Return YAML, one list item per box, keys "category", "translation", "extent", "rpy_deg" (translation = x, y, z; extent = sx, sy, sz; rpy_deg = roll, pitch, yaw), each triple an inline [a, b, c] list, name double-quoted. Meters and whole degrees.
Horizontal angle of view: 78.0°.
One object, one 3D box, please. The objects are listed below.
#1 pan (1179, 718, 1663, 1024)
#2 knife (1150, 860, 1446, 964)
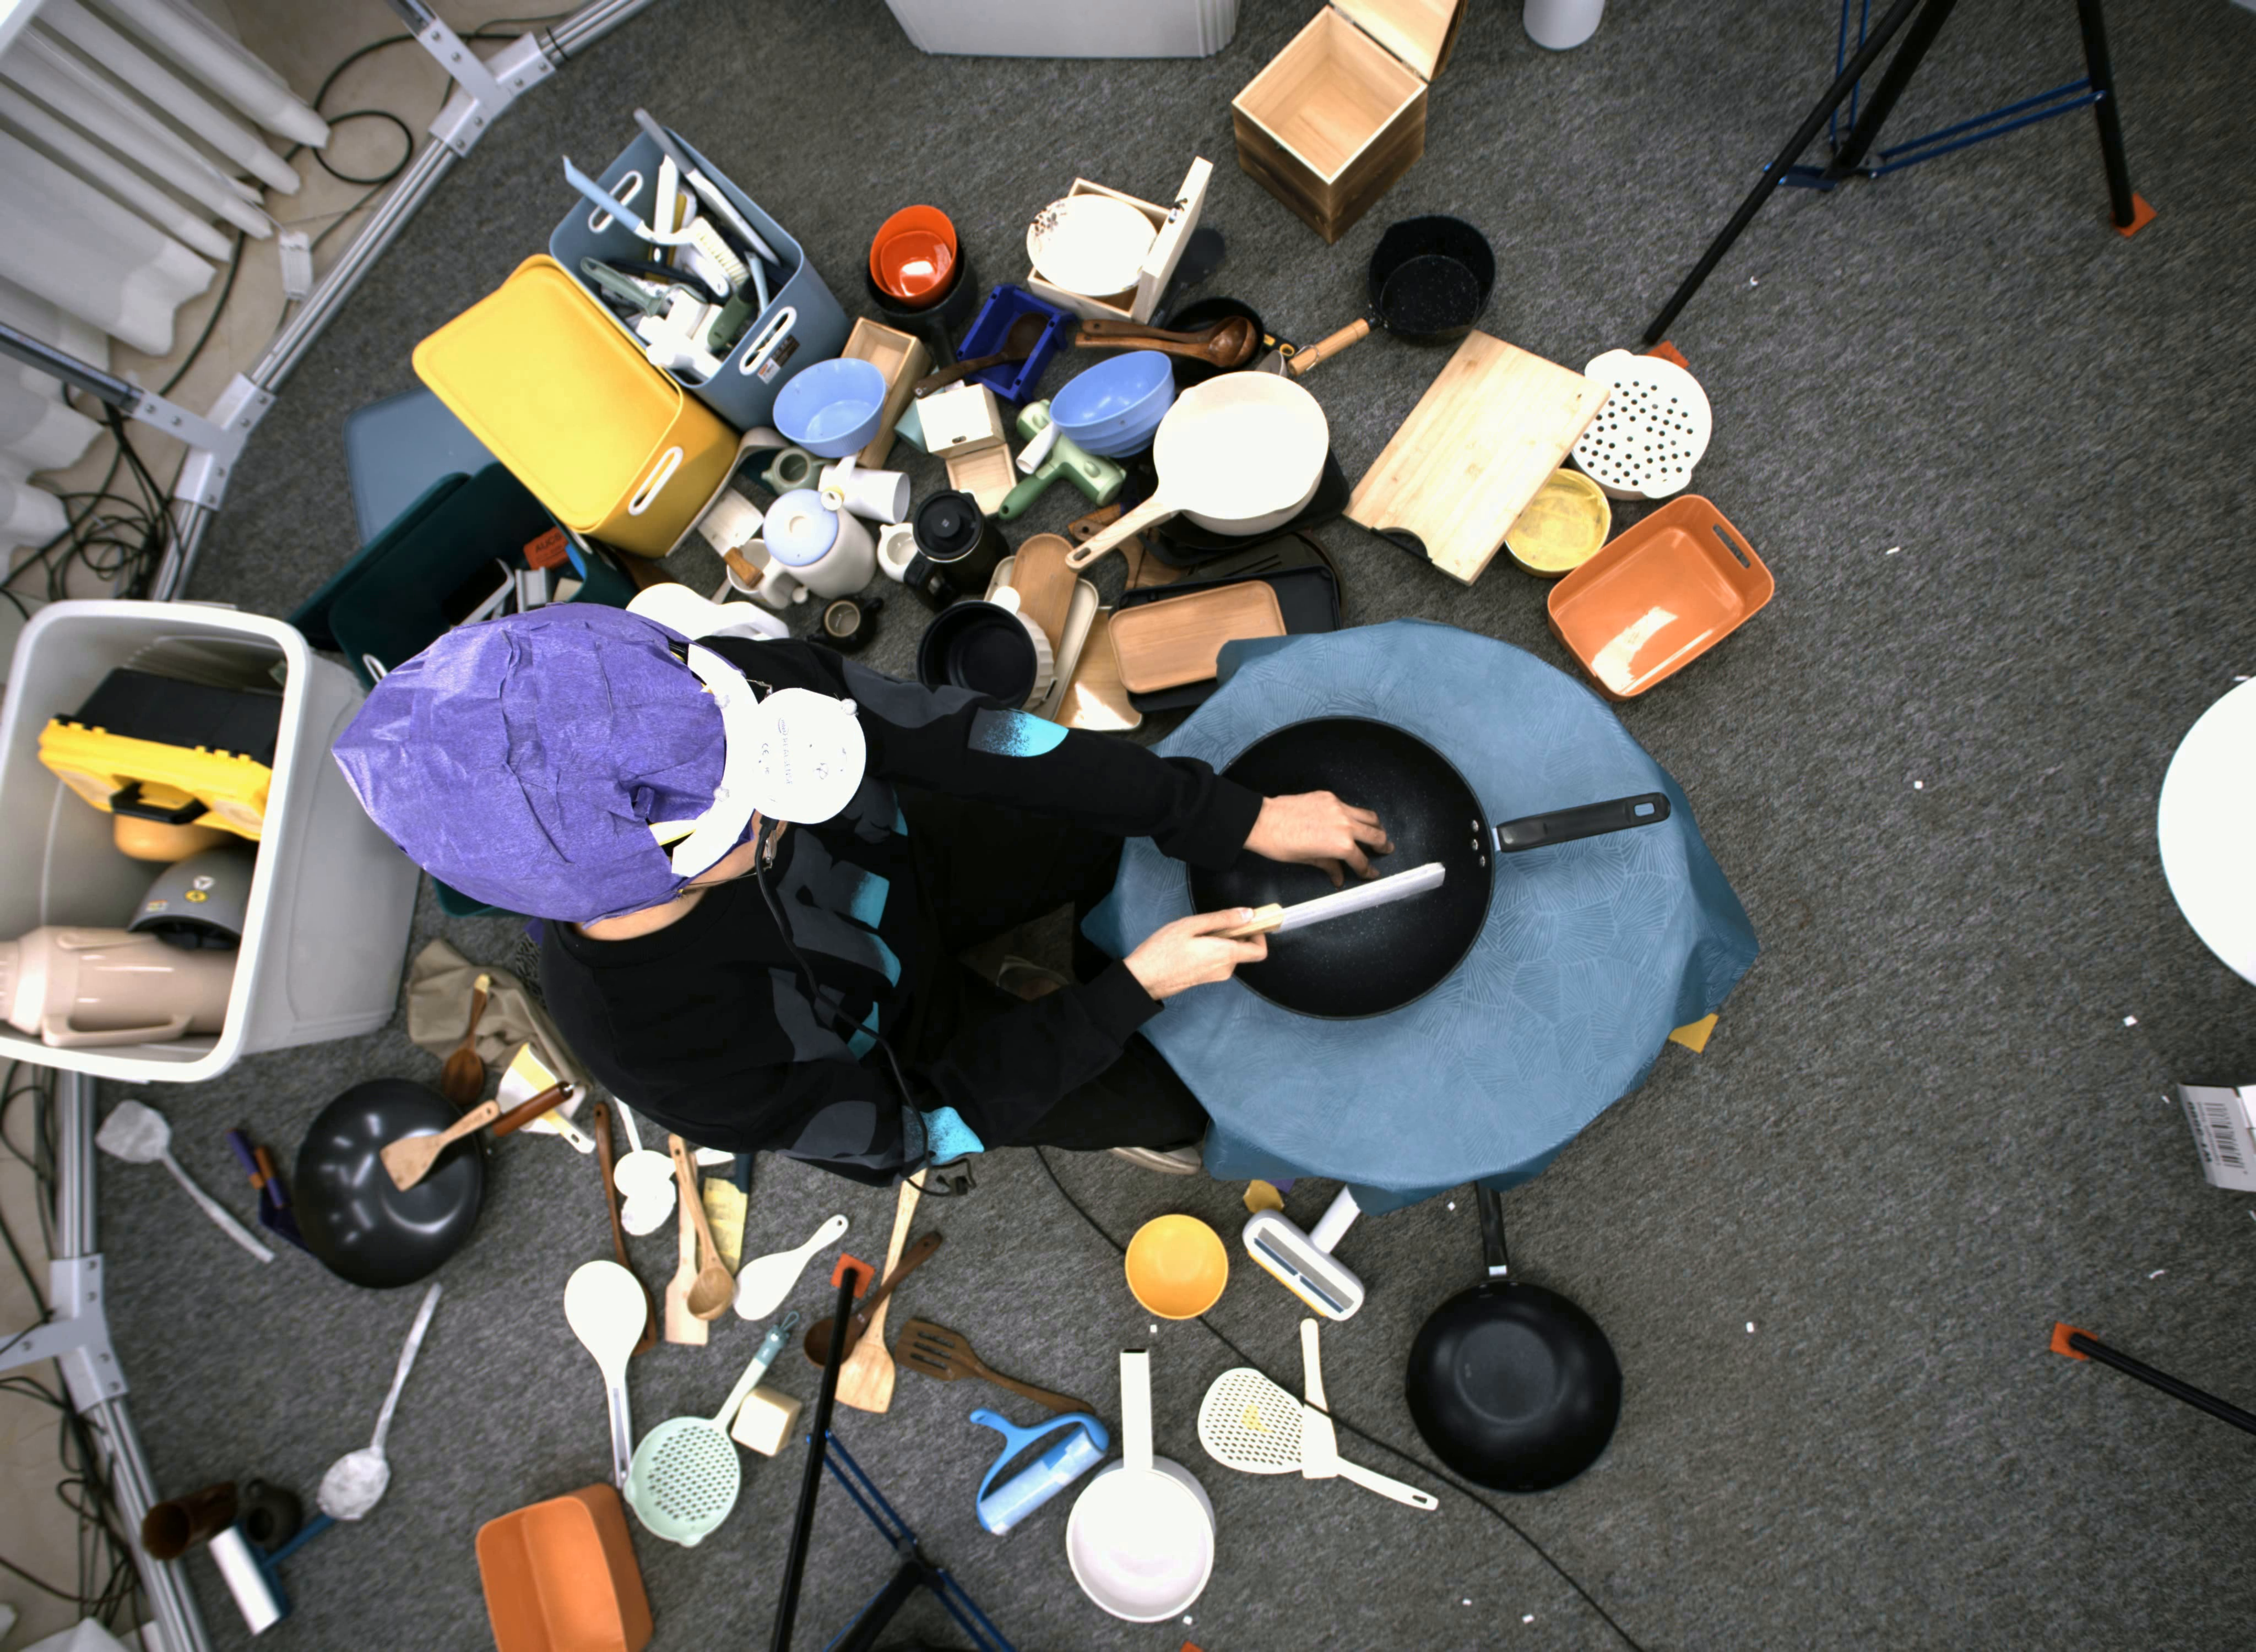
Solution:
- category: "pan"
  translation: [0.291, 0.030, 1.405]
  extent: [0.479, 0.111, 0.309]
  rpy_deg: [-11, 86, 10]
- category: "knife"
  translation: [0.175, 0.084, 1.381]
  extent: [0.315, 0.115, 0.021]
  rpy_deg: [-15, 71, -3]
